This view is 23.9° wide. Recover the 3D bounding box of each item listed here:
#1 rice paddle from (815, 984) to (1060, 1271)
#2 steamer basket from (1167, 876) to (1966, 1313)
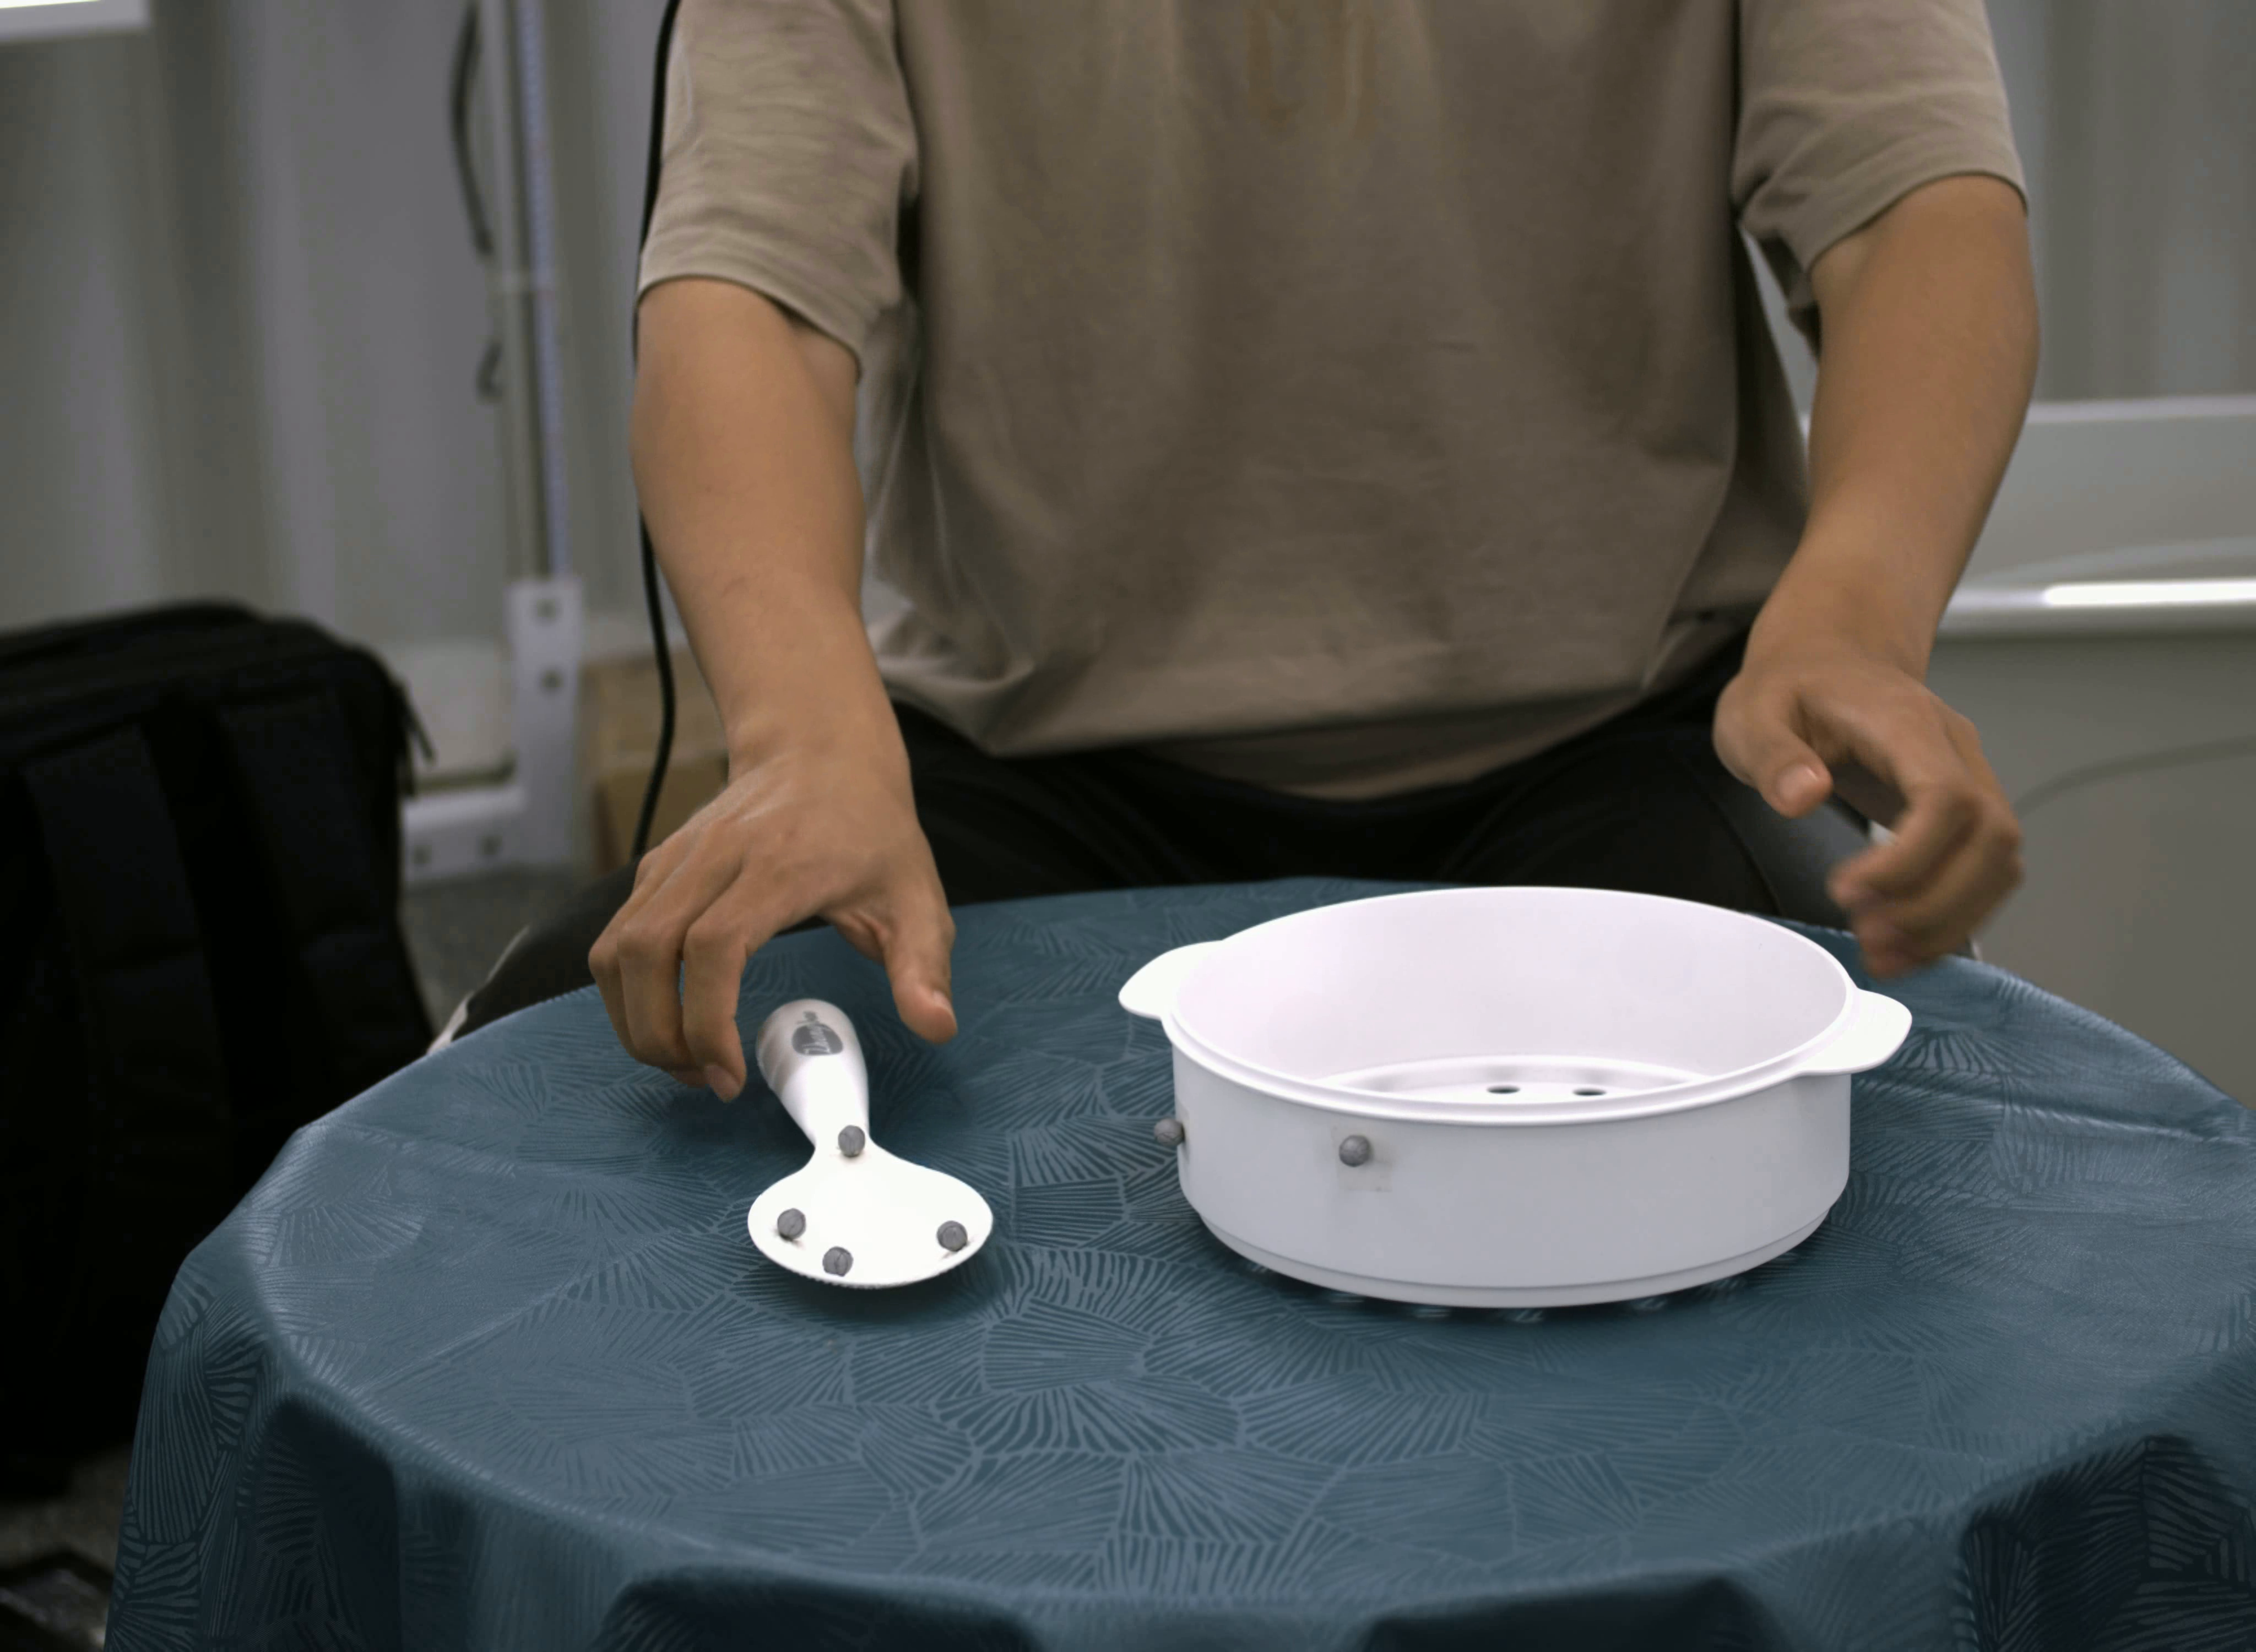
[{"bbox_3d":[-0.063,0.090,1.557,0.068,0.029,0.207,-6,17,-8],"label":"rice paddle"},{"bbox_3d":[0.124,0.077,1.521,0.233,0.069,0.199,7,19,21],"label":"steamer basket"}]
